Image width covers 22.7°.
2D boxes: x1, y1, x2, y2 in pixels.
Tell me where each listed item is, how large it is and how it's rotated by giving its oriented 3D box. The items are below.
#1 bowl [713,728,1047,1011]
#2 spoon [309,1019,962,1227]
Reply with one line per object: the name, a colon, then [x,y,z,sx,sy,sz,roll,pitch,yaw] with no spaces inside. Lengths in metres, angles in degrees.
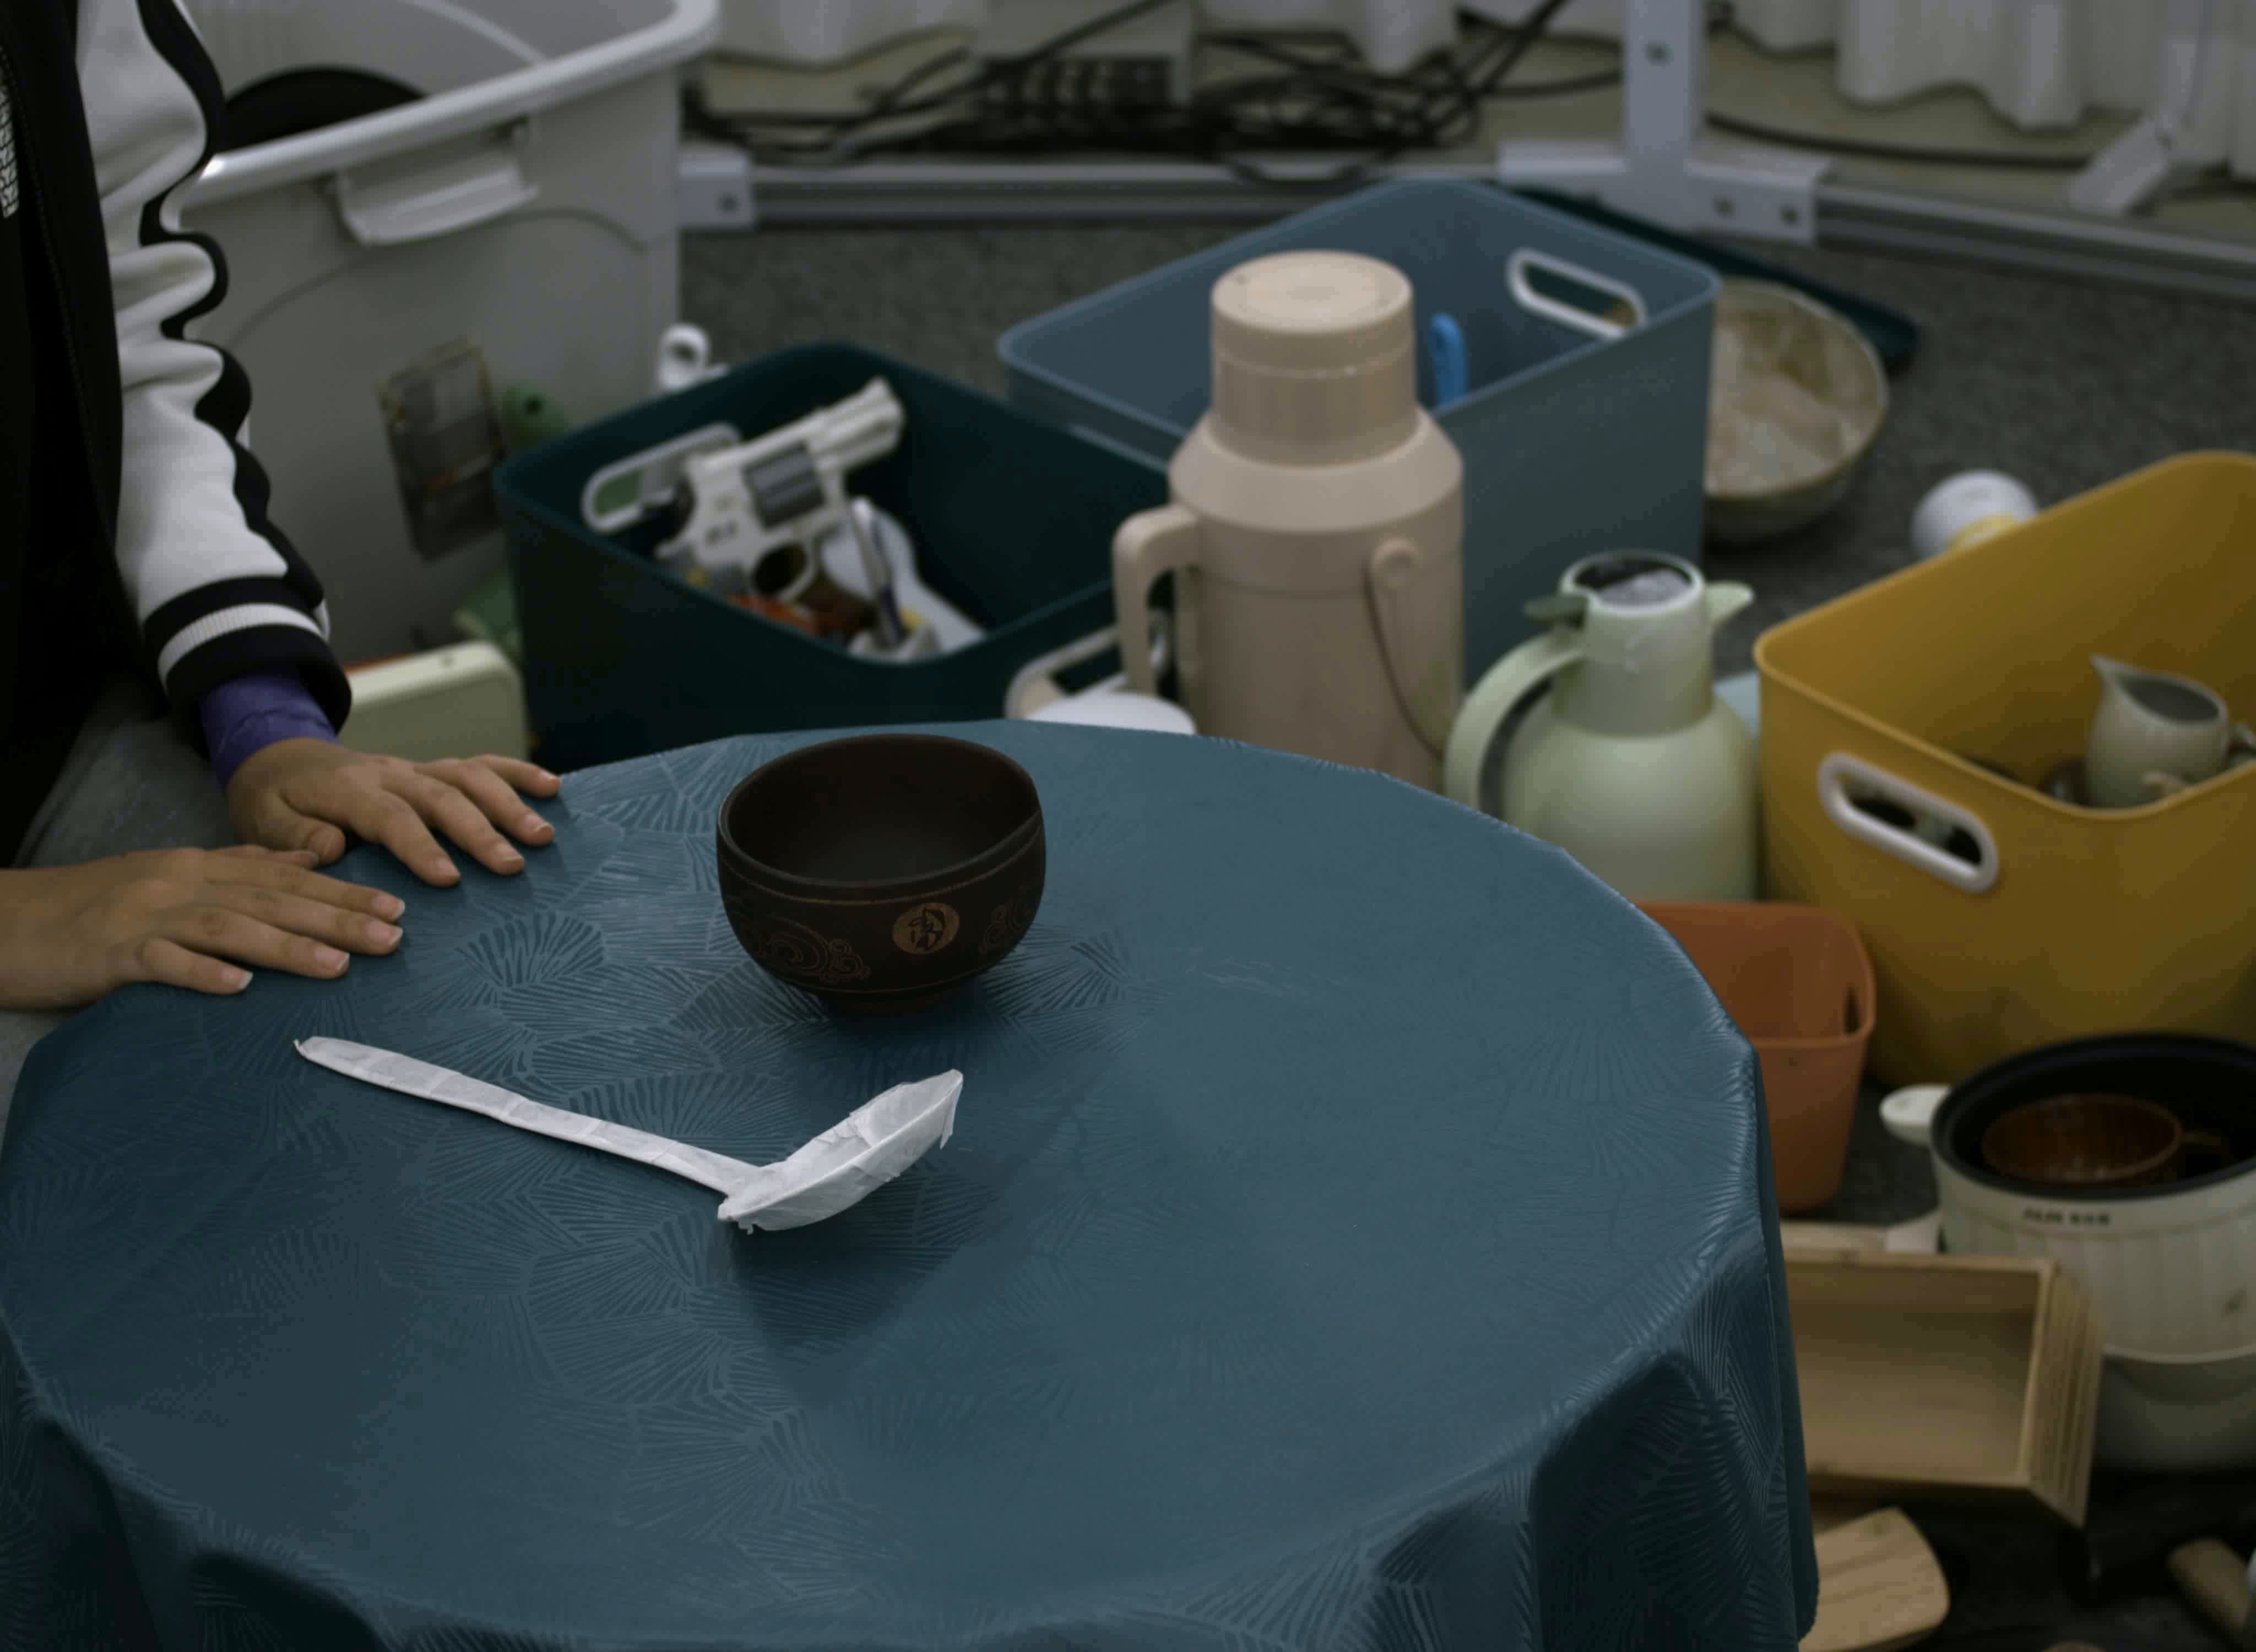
bowl: [-0.086,0.022,1.984,0.117,0.069,0.120,-2,27,1]
spoon: [-0.173,0.081,1.897,0.276,0.059,0.102,17,30,33]
